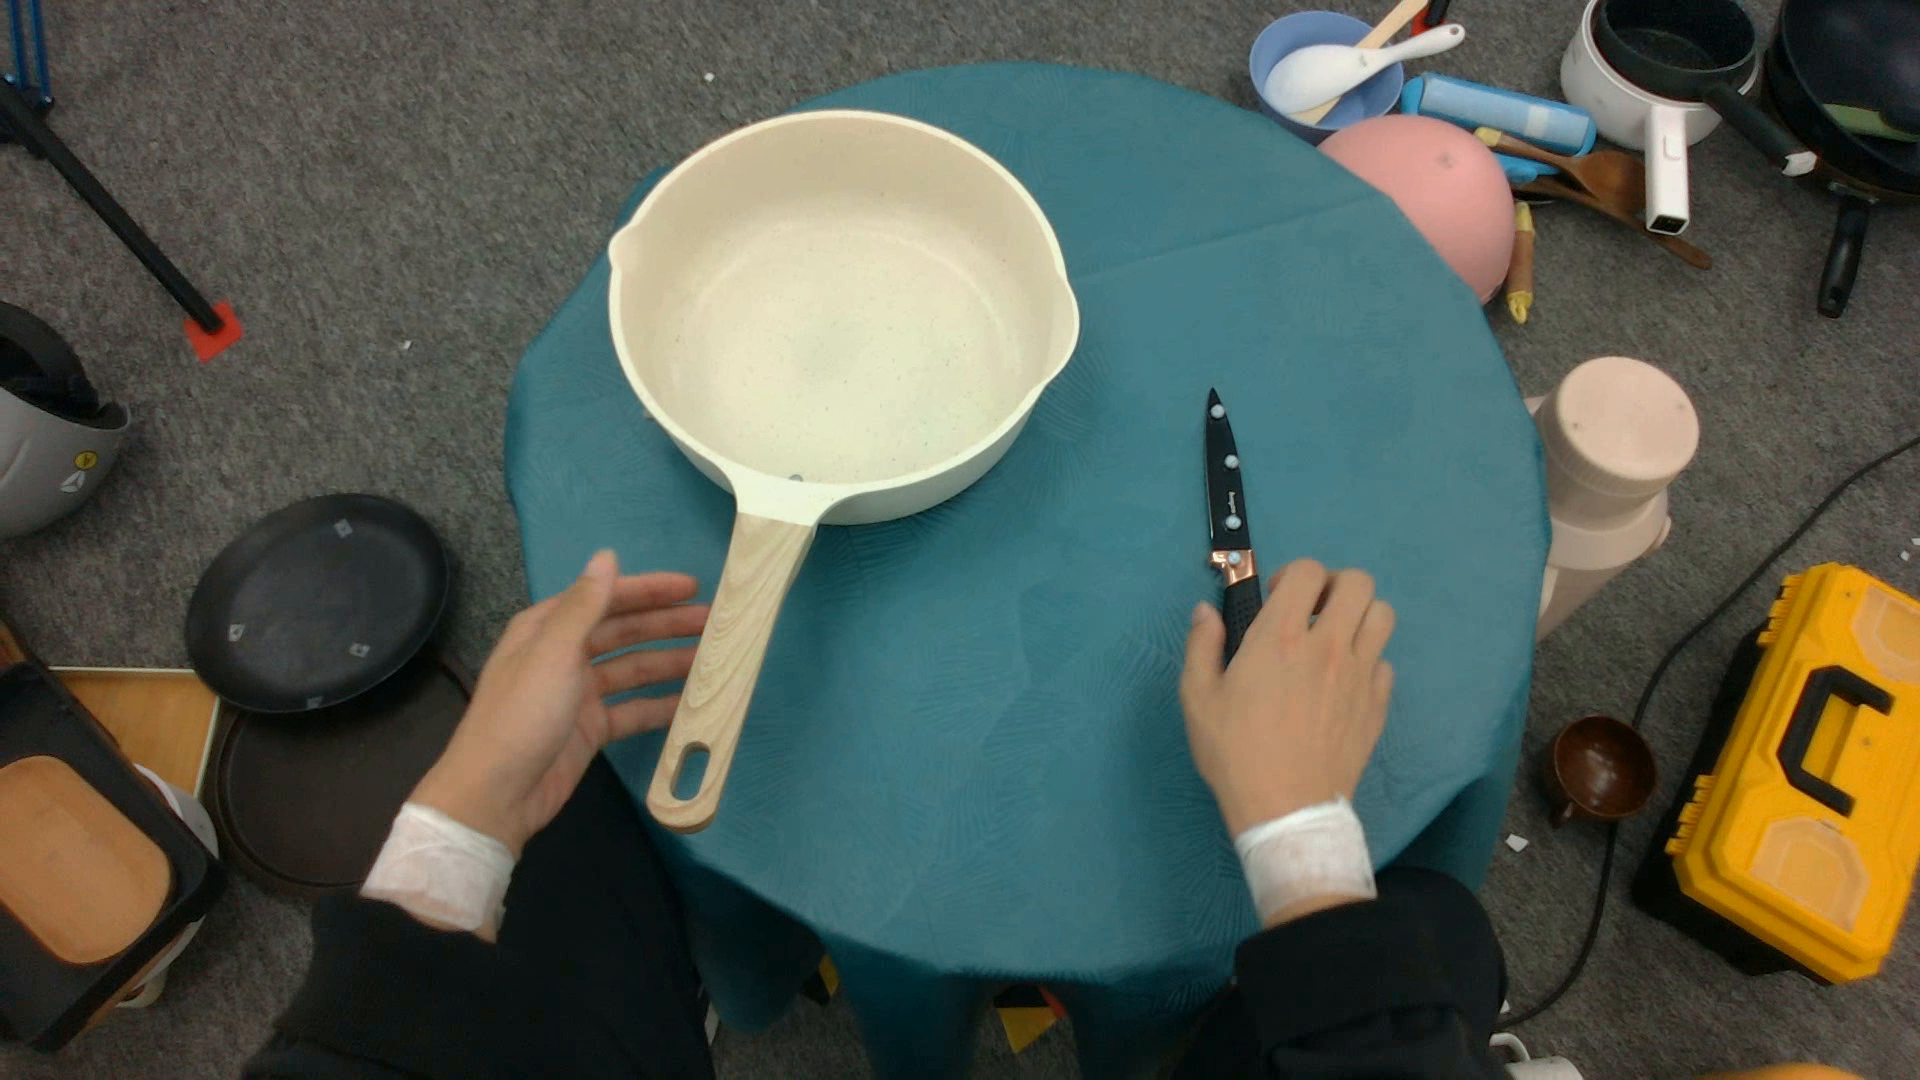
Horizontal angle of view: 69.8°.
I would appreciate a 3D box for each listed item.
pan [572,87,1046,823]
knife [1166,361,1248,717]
[{"bbox_3d":[-0.101,-0.054,0.745,0.263,0.101,0.436,11,66,0],"label":"pan"},{"bbox_3d":[0.140,-0.007,0.787,0.026,0.017,0.226,-8,64,10],"label":"knife"}]
